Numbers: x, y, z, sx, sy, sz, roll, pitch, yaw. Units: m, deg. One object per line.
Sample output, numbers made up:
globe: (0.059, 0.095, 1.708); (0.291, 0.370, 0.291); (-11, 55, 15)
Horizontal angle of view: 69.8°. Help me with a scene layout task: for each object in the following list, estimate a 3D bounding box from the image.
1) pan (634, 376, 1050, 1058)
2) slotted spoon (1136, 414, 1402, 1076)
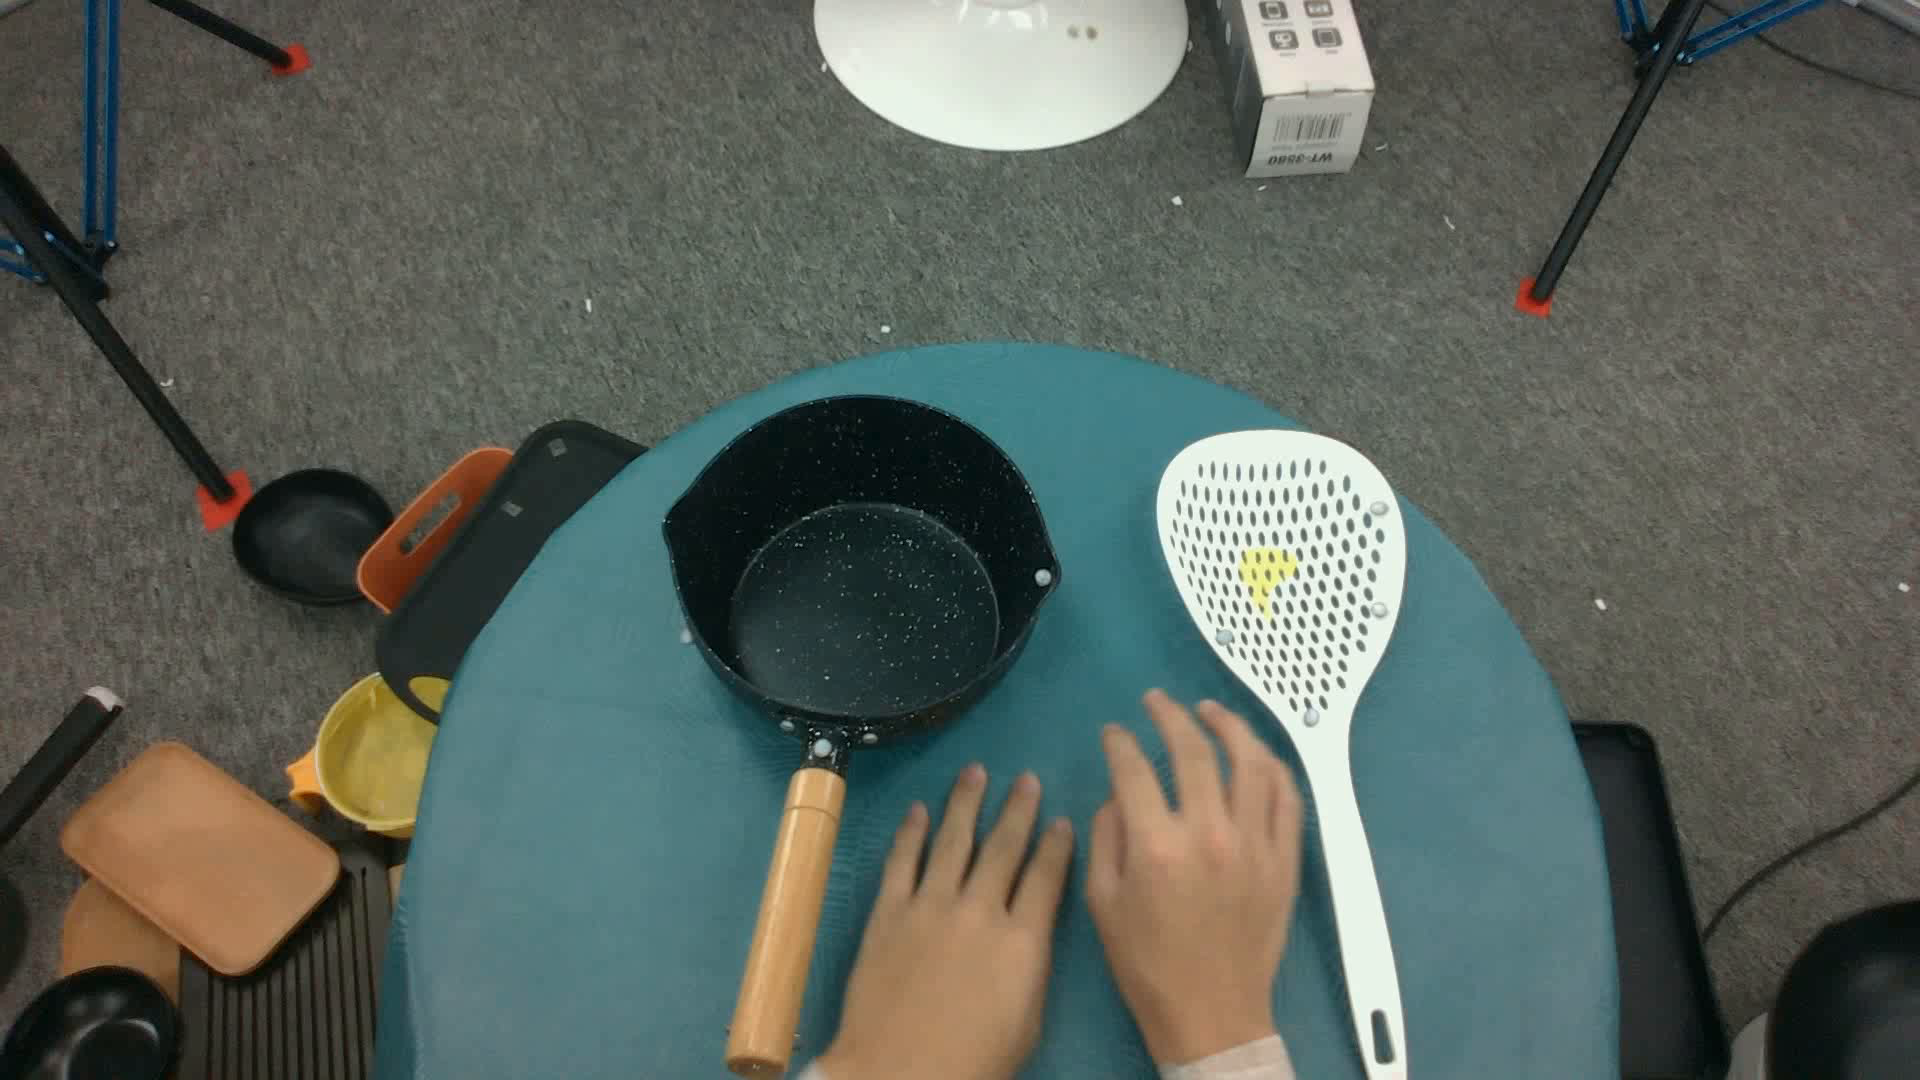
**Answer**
pan: (-0.067, 0.078, 0.662); (0.207, 0.108, 0.344); (7, 59, 0)
slotted spoon: (0.174, 0.088, 0.707); (0.137, 0.050, 0.349); (-3, 59, -7)
